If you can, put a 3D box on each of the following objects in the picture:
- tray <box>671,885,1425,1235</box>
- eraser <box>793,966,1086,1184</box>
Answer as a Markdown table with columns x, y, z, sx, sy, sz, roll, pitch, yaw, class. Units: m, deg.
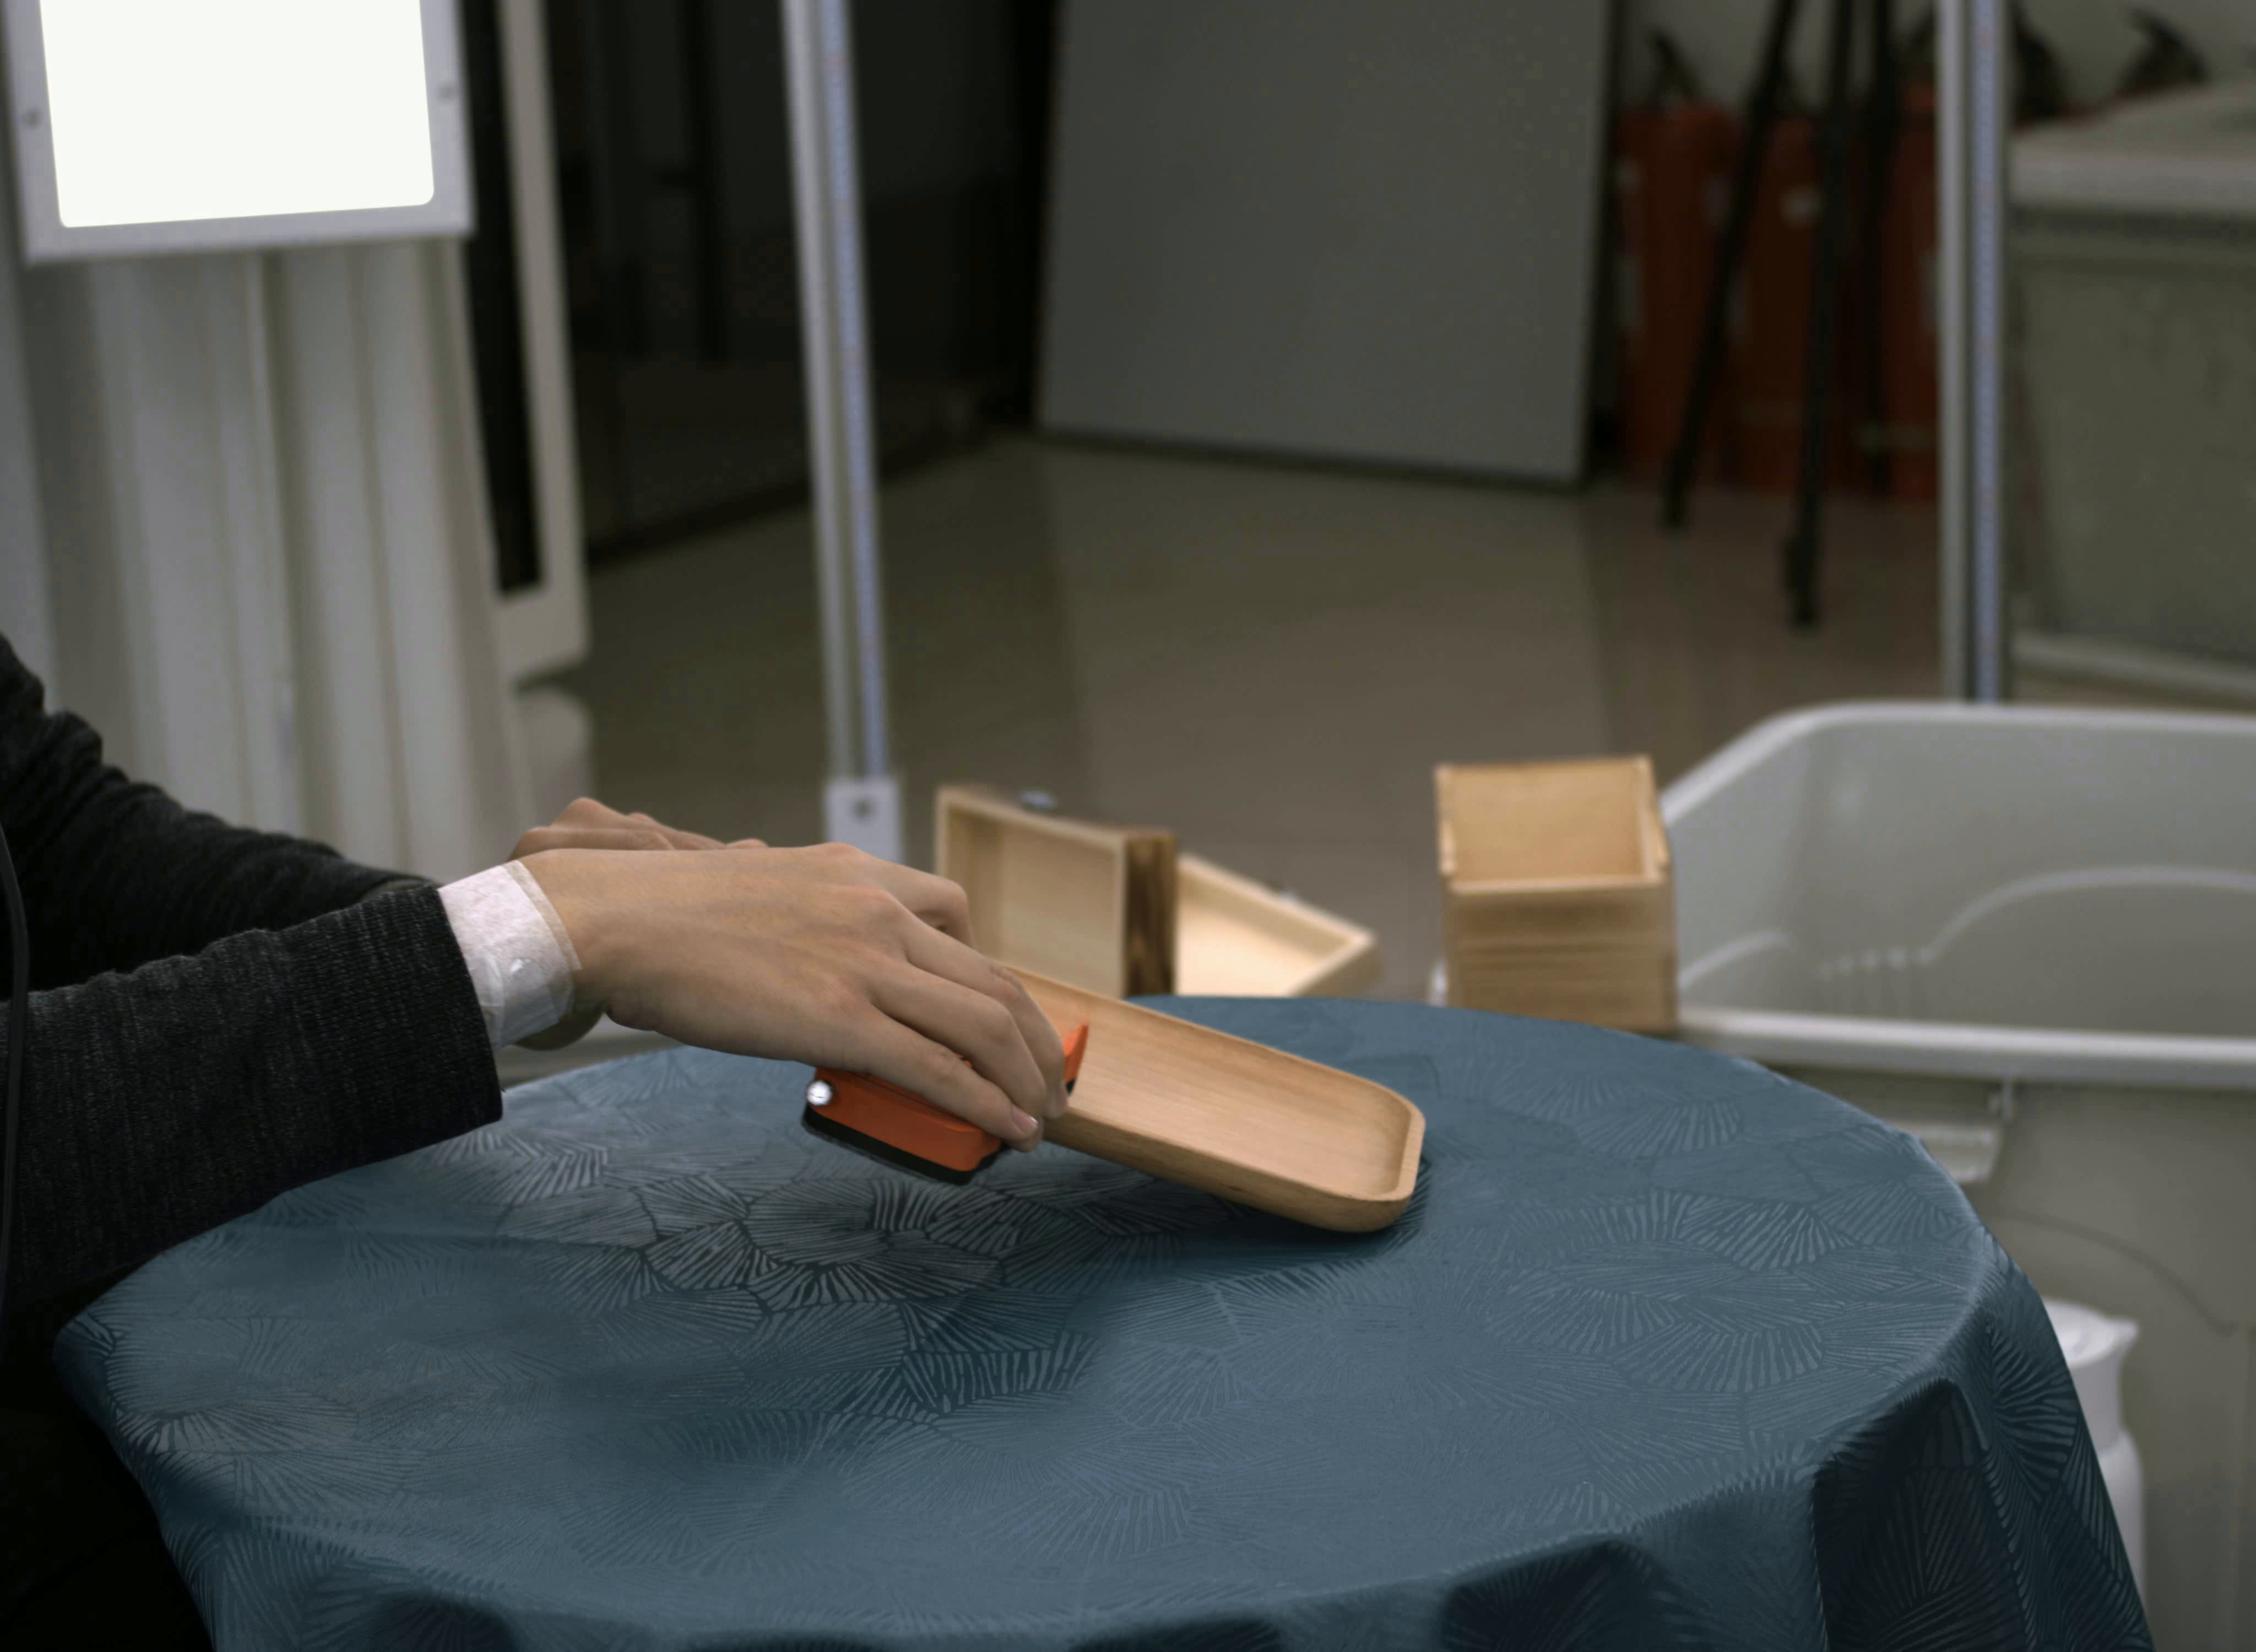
| x | y | z | sx | sy | sz | roll | pitch | yaw | class |
| --- | --- | --- | --- | --- | --- | --- | --- | --- | --- |
| -0.025 | 0.076 | 1.759 | 0.248 | 0.023 | 0.130 | 17 | 13 | 5 | tray |
| -0.057 | 0.076 | 1.668 | 0.059 | 0.023 | 0.107 | 21 | 22 | 16 | eraser |
